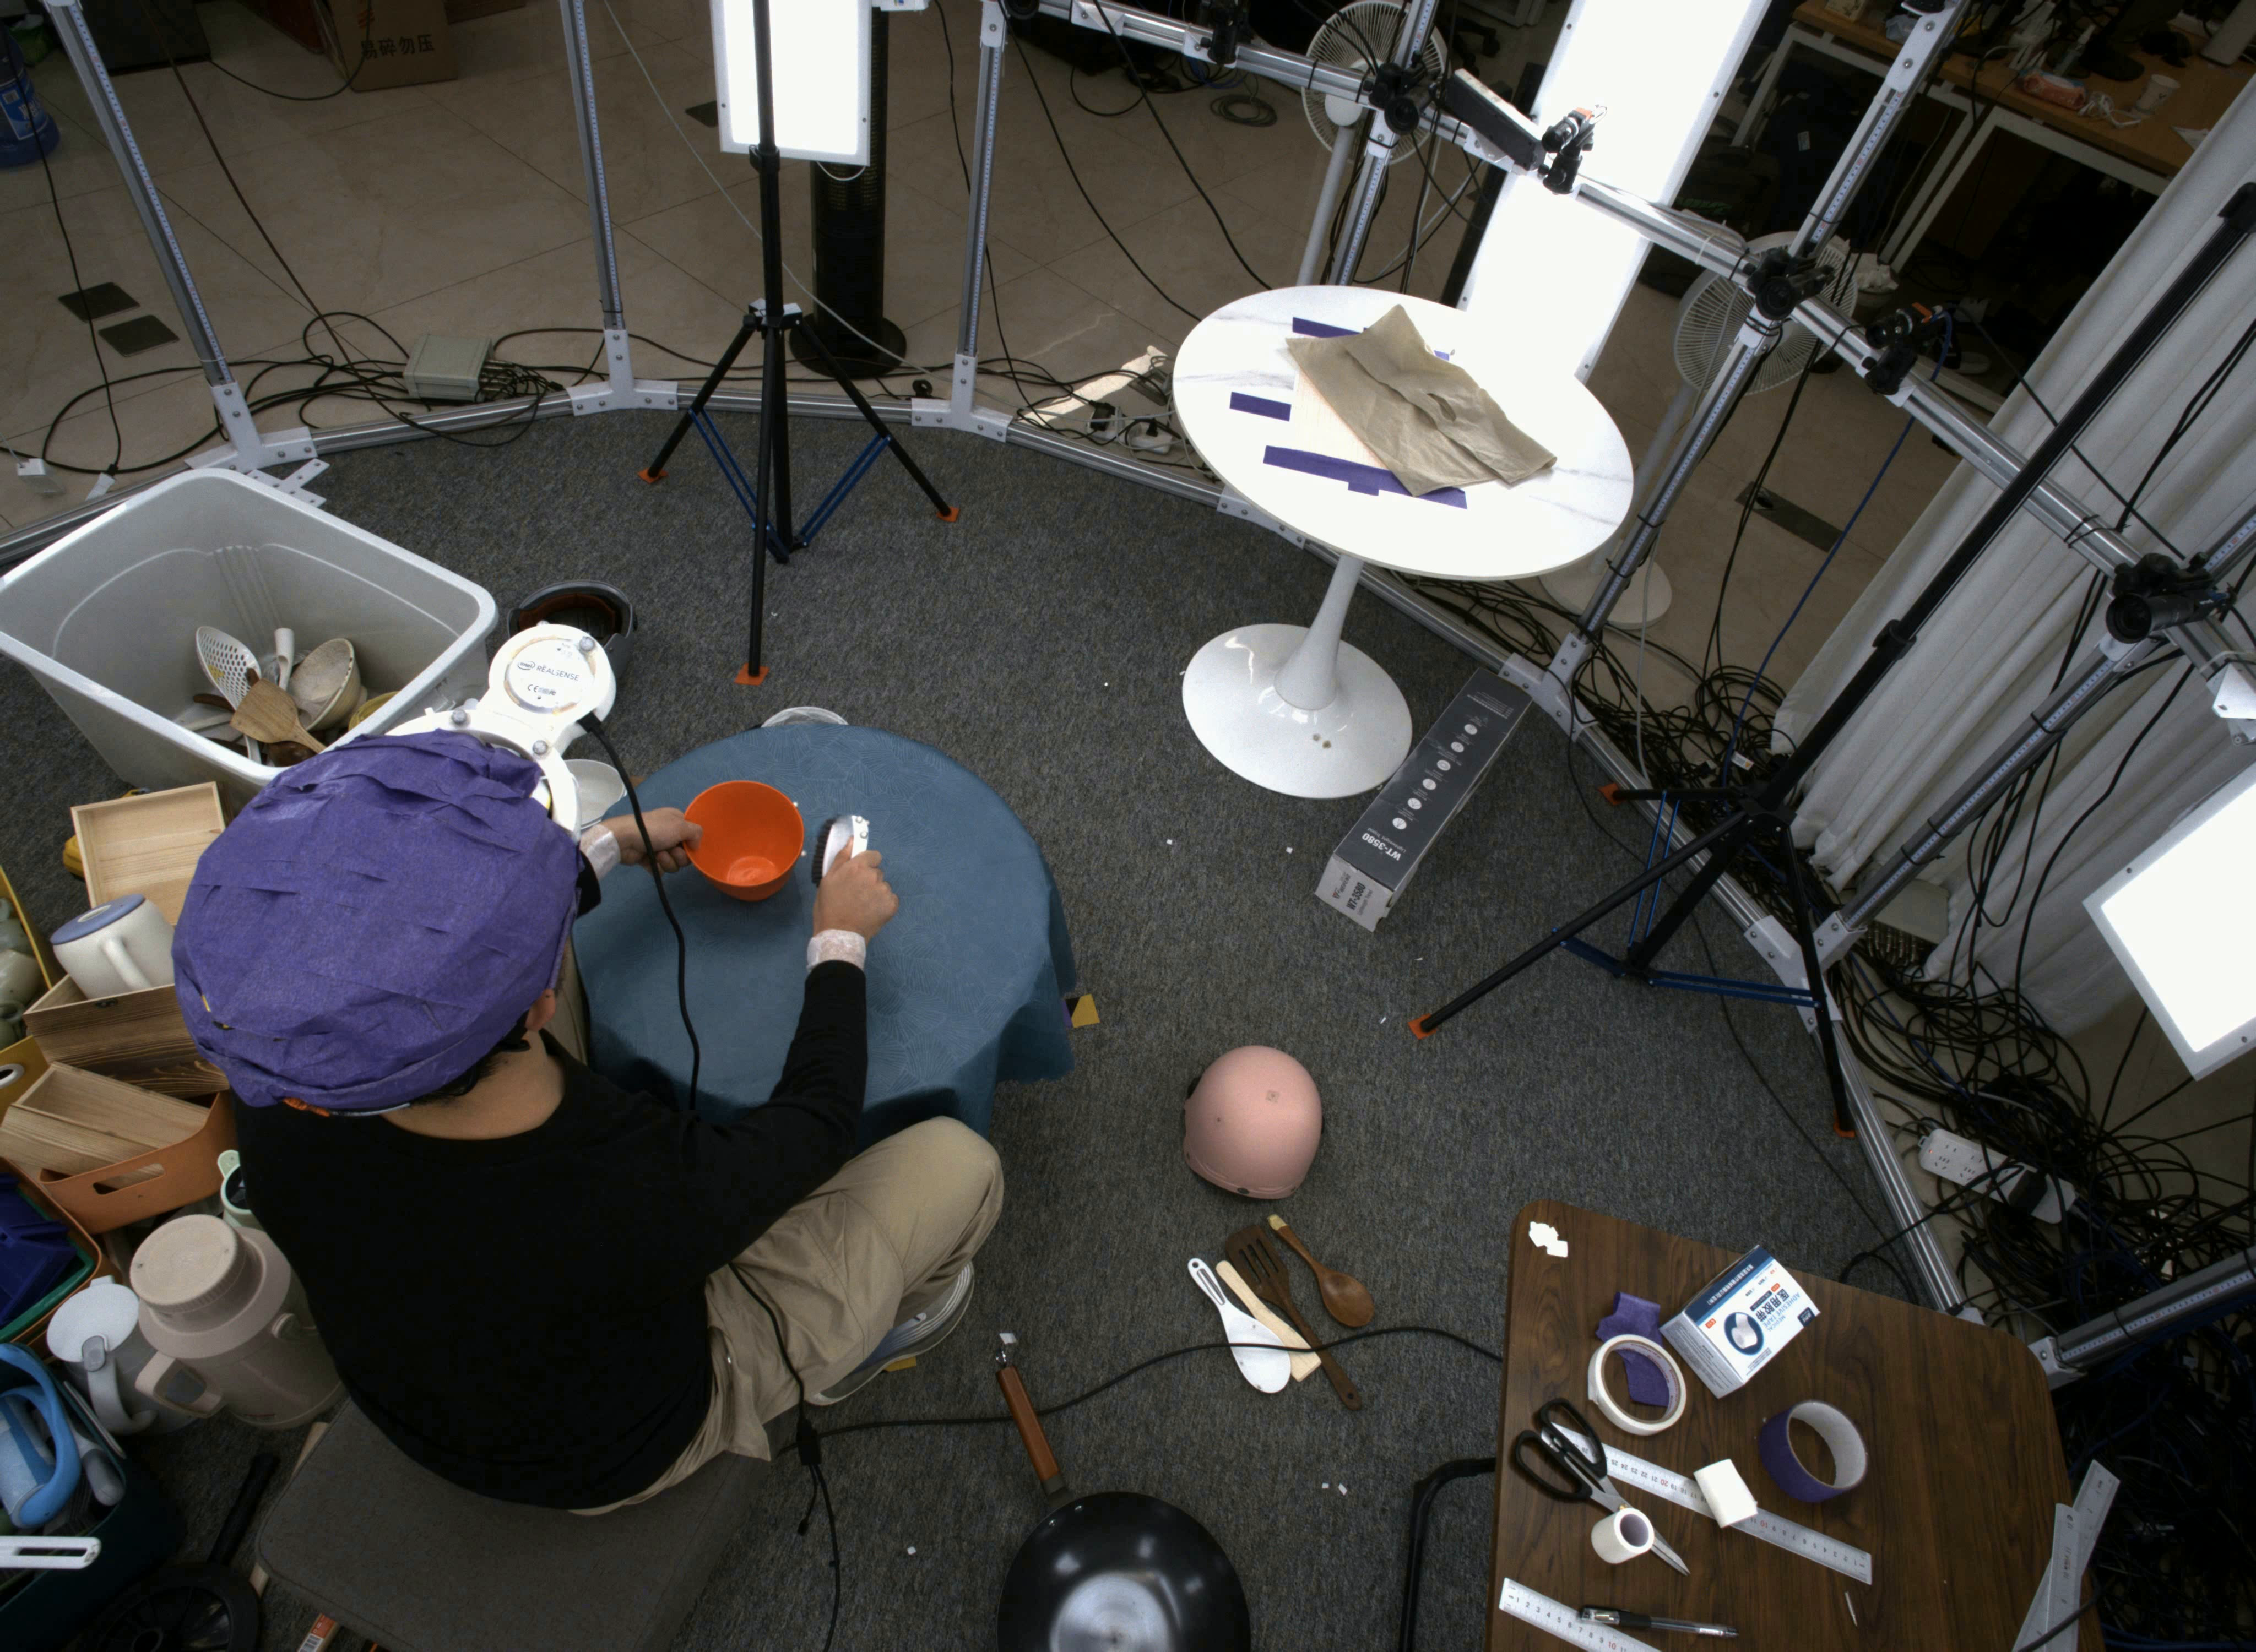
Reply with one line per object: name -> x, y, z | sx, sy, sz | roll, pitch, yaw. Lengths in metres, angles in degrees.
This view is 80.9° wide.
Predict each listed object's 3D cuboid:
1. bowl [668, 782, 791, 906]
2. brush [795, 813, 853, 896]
bowl -> -0.493, 0.034, 1.612 | 0.147, 0.107, 0.145 | 7, 53, -8
brush -> -0.358, 0.032, 1.562 | 0.052, 0.070, 0.099 | 20, 76, -40
